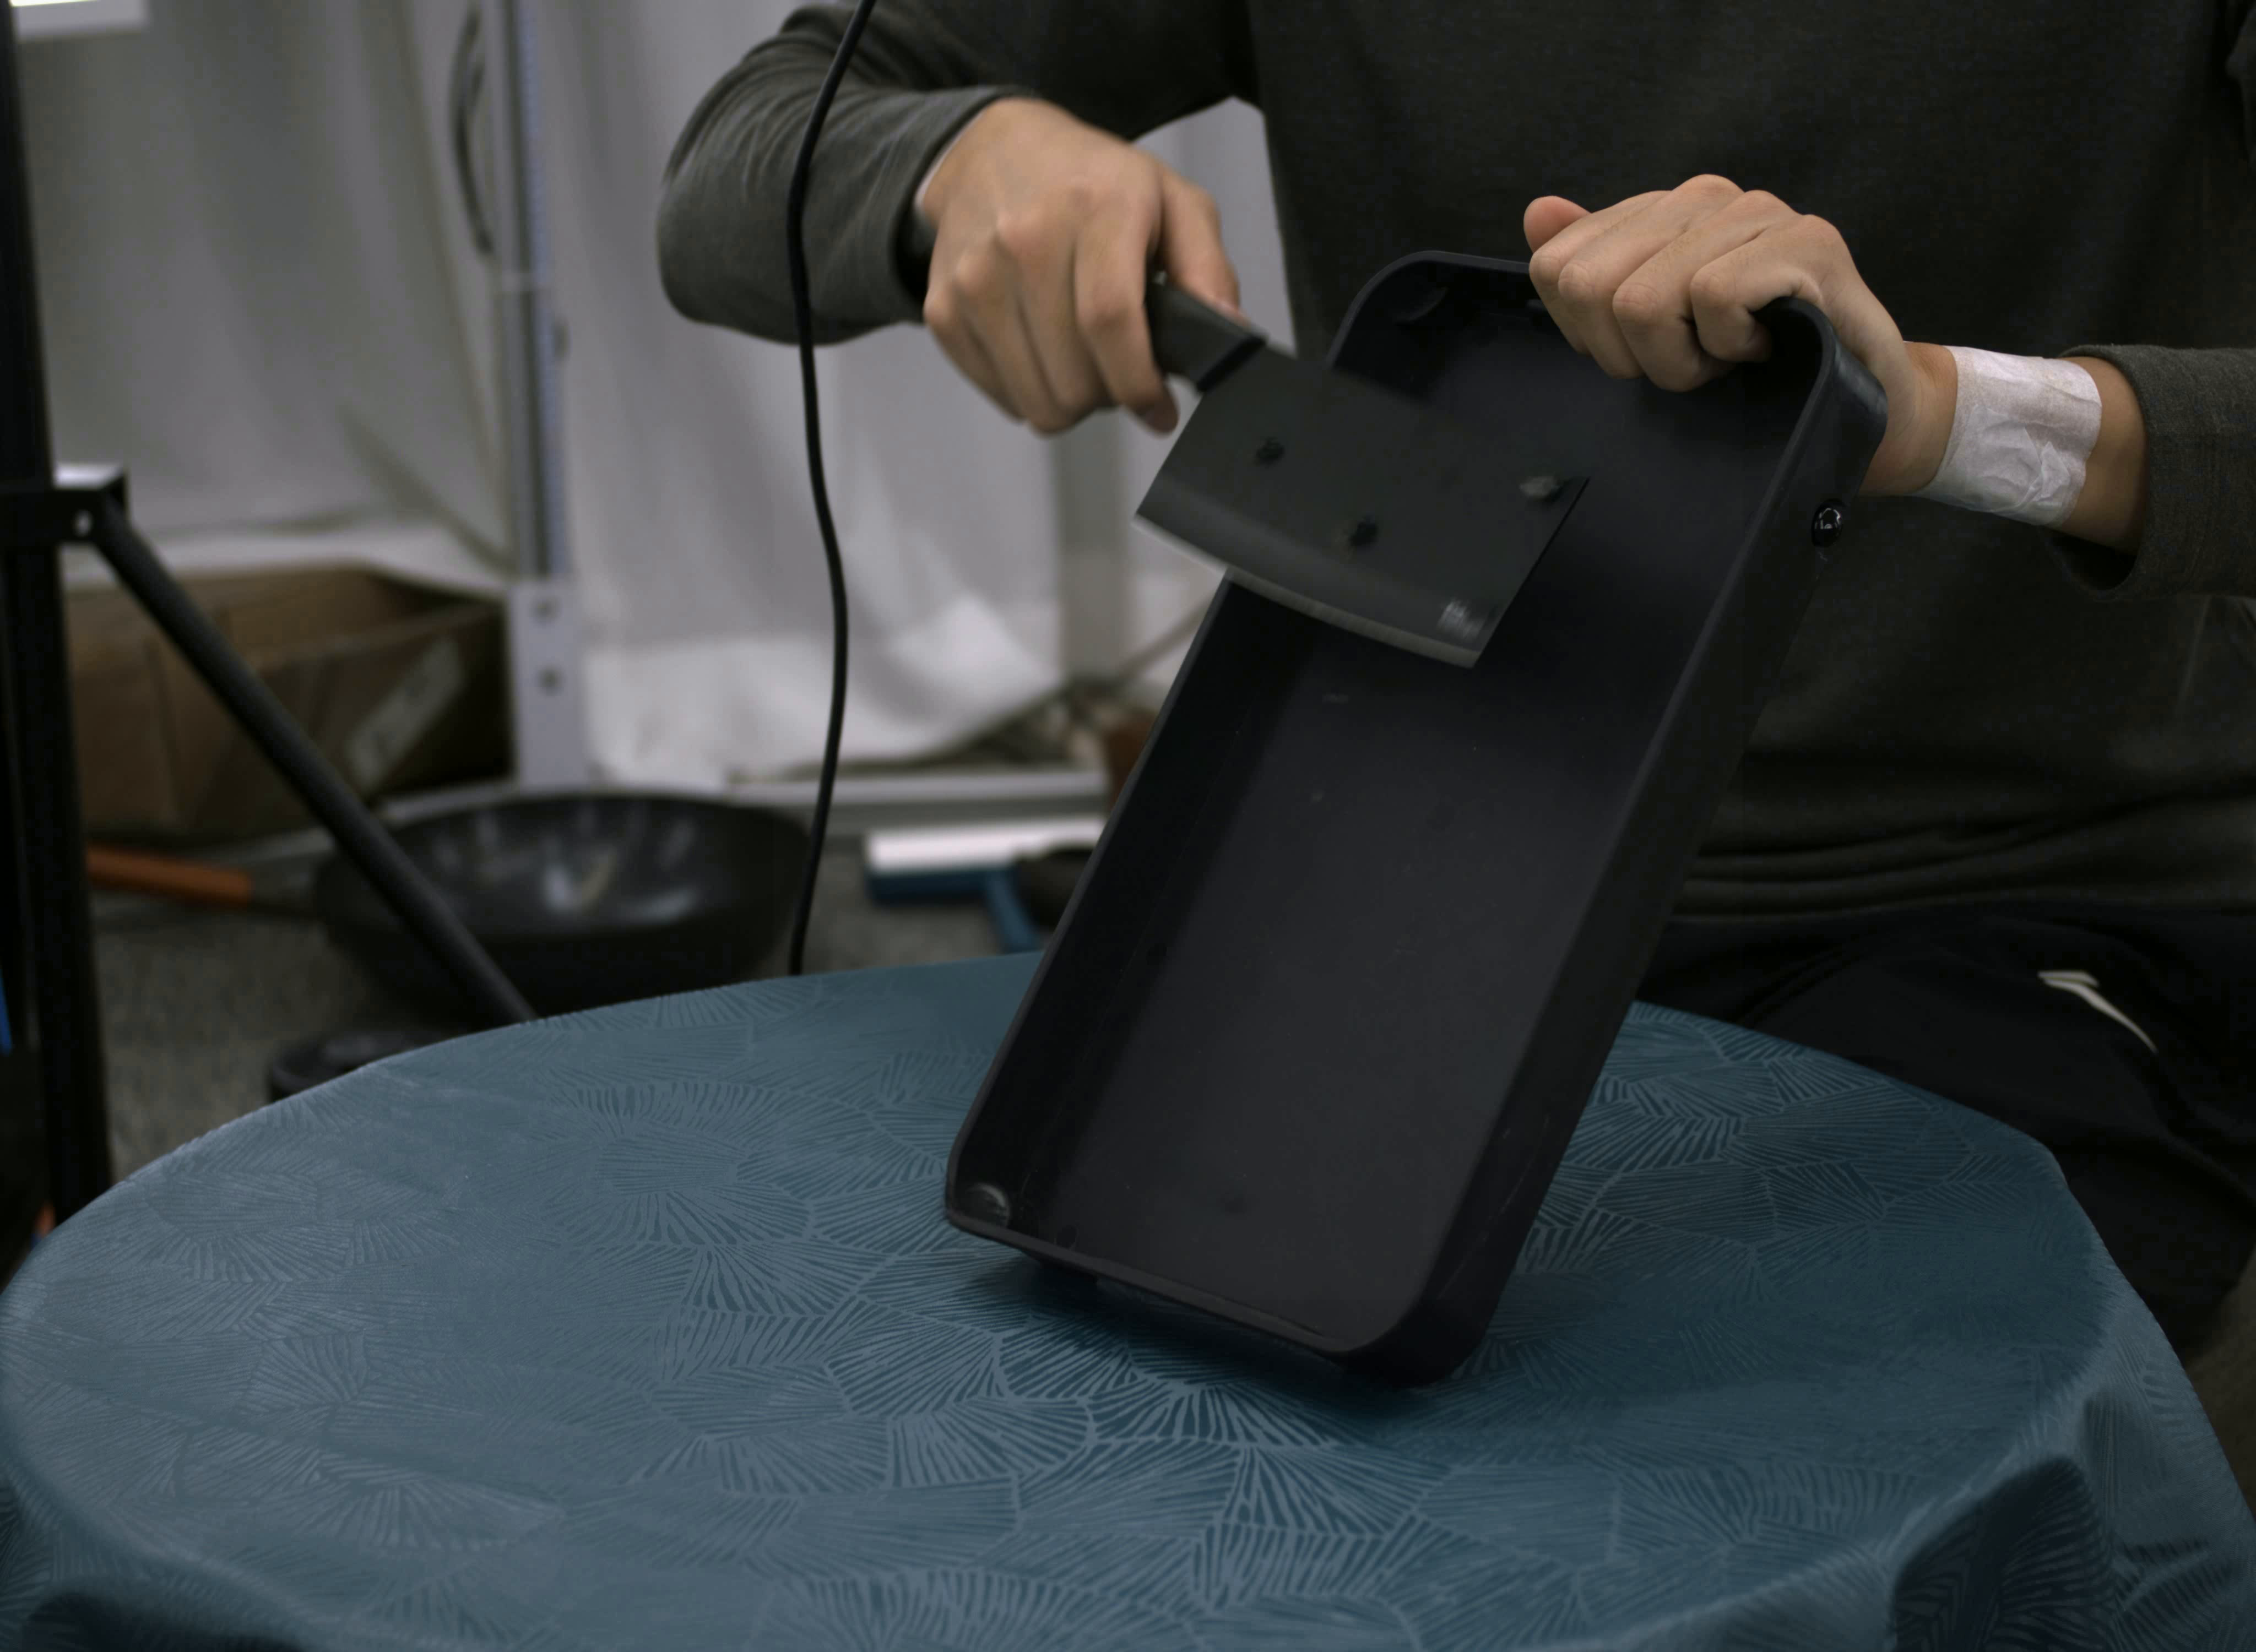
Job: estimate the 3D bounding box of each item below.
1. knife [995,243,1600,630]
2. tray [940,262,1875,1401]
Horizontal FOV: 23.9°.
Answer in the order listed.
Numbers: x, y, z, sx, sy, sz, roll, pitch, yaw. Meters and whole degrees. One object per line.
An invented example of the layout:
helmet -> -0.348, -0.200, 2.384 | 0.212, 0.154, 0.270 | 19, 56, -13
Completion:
knife -> 0.038, -0.119, 1.561 | 0.020, 0.081, 0.309 | 34, 1, -35
tray -> 0.077, -0.004, 1.473 | 0.188, 0.318, 0.036 | 11, -18, 45
